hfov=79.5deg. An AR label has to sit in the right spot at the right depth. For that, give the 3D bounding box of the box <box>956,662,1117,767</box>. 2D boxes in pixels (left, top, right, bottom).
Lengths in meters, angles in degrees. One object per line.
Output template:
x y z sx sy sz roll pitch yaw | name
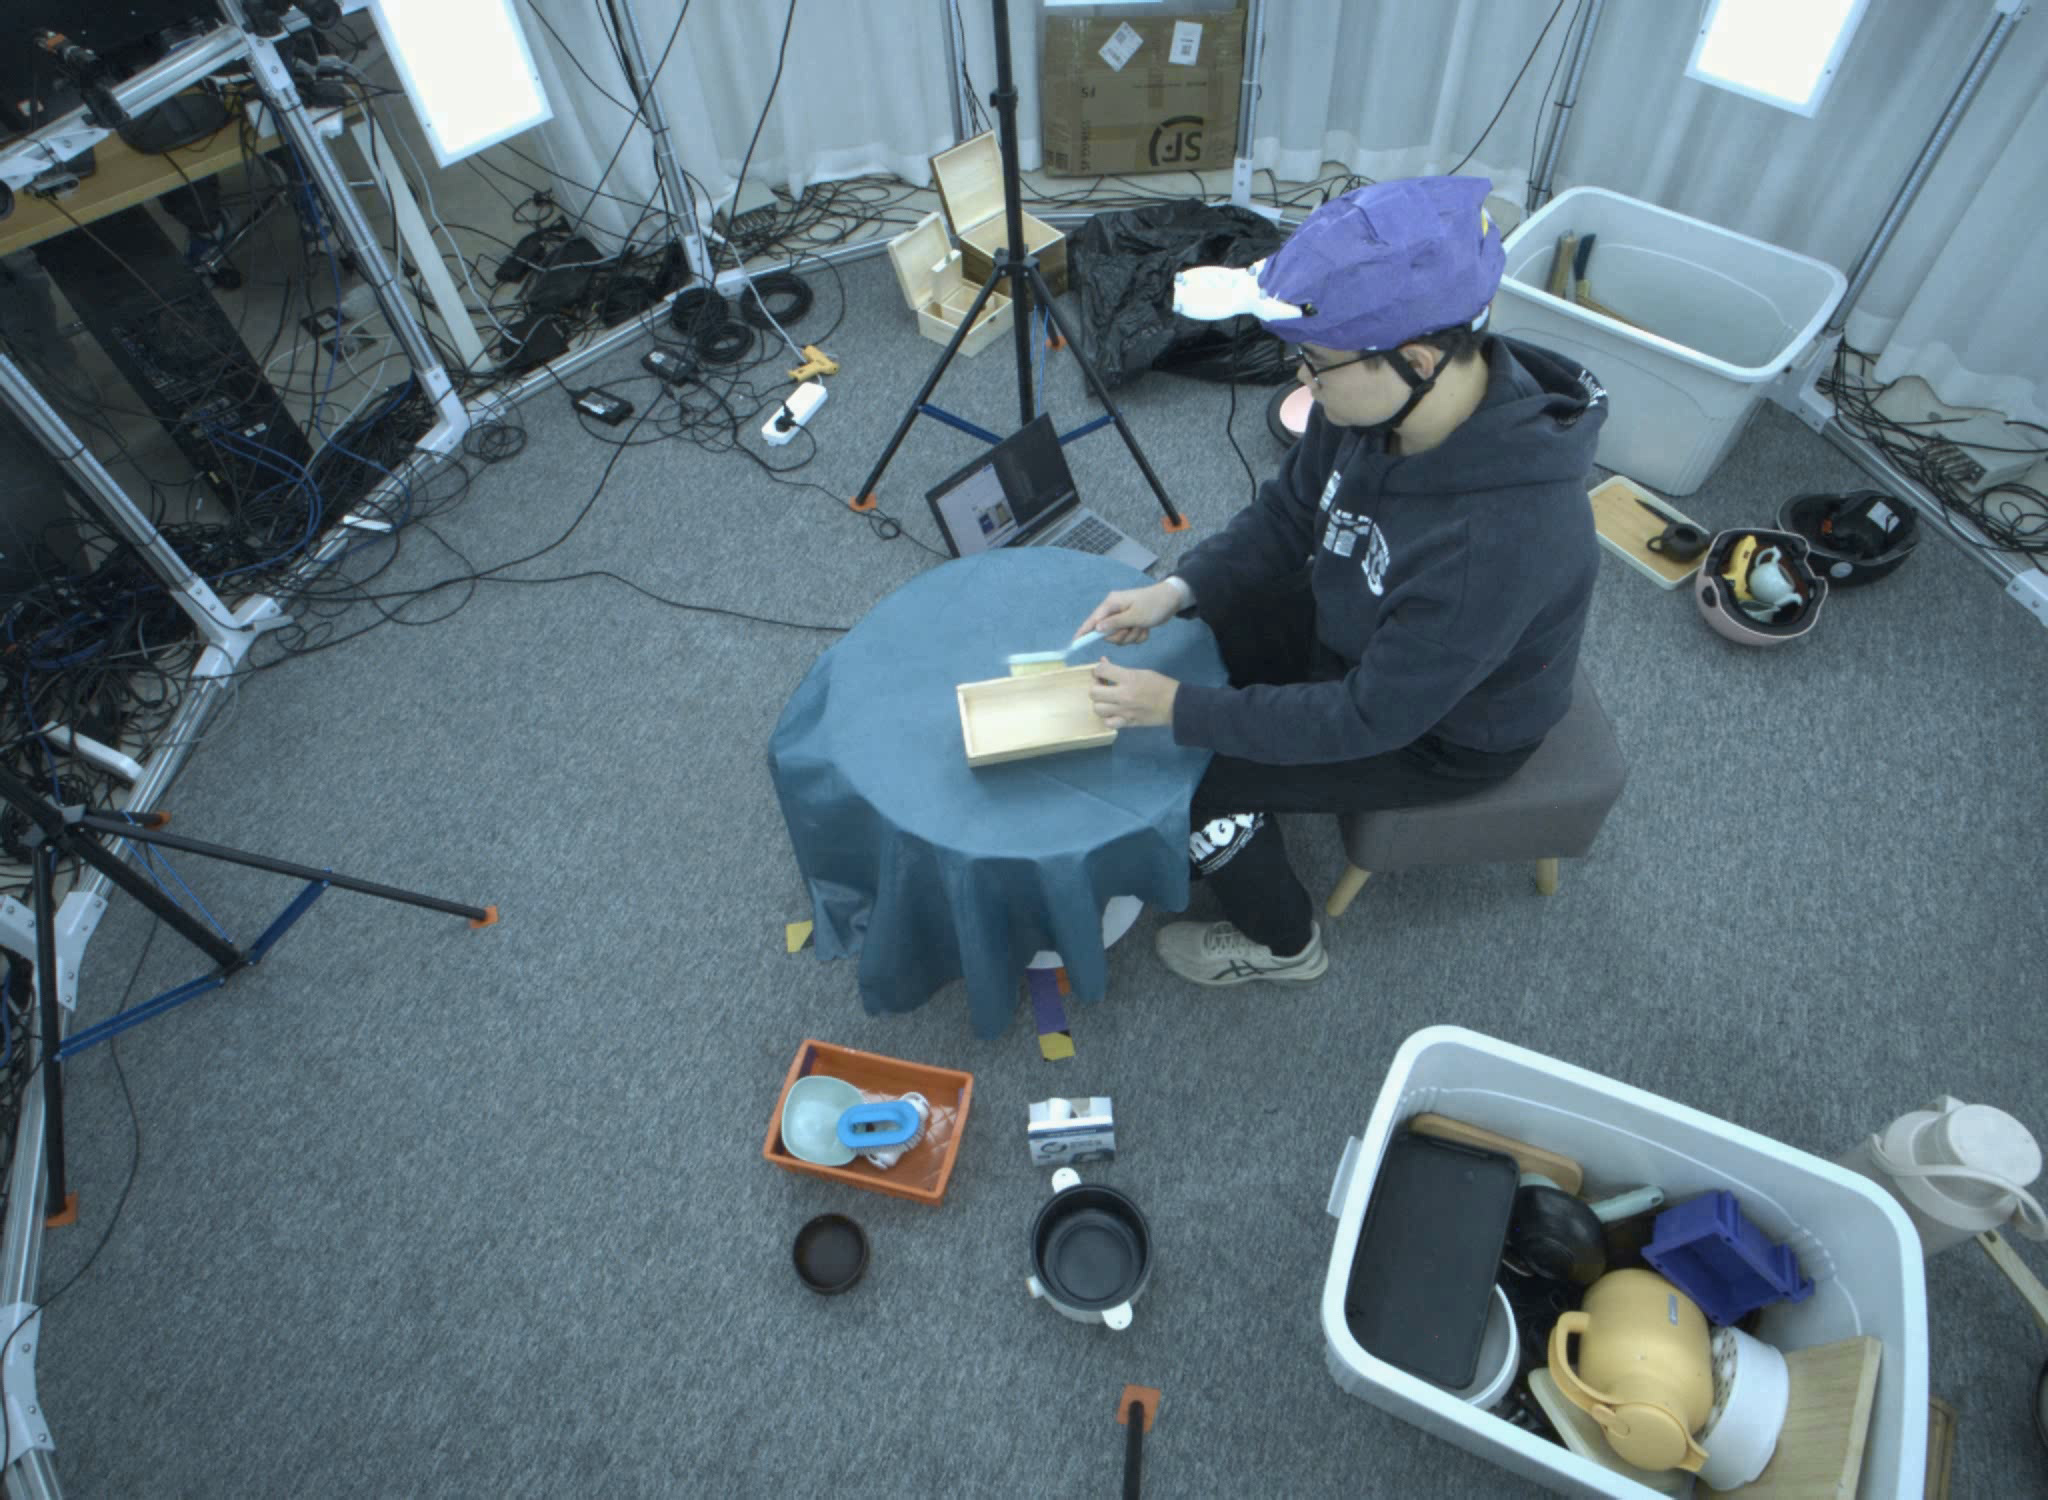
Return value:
0.016 -0.050 1.750 0.212 0.080 0.107 -10 82 -5 | box

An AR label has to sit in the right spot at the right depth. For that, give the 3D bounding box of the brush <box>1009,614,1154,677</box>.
0.087 -0.150 1.777 0.231 0.037 0.049 -21 90 -21 | brush
